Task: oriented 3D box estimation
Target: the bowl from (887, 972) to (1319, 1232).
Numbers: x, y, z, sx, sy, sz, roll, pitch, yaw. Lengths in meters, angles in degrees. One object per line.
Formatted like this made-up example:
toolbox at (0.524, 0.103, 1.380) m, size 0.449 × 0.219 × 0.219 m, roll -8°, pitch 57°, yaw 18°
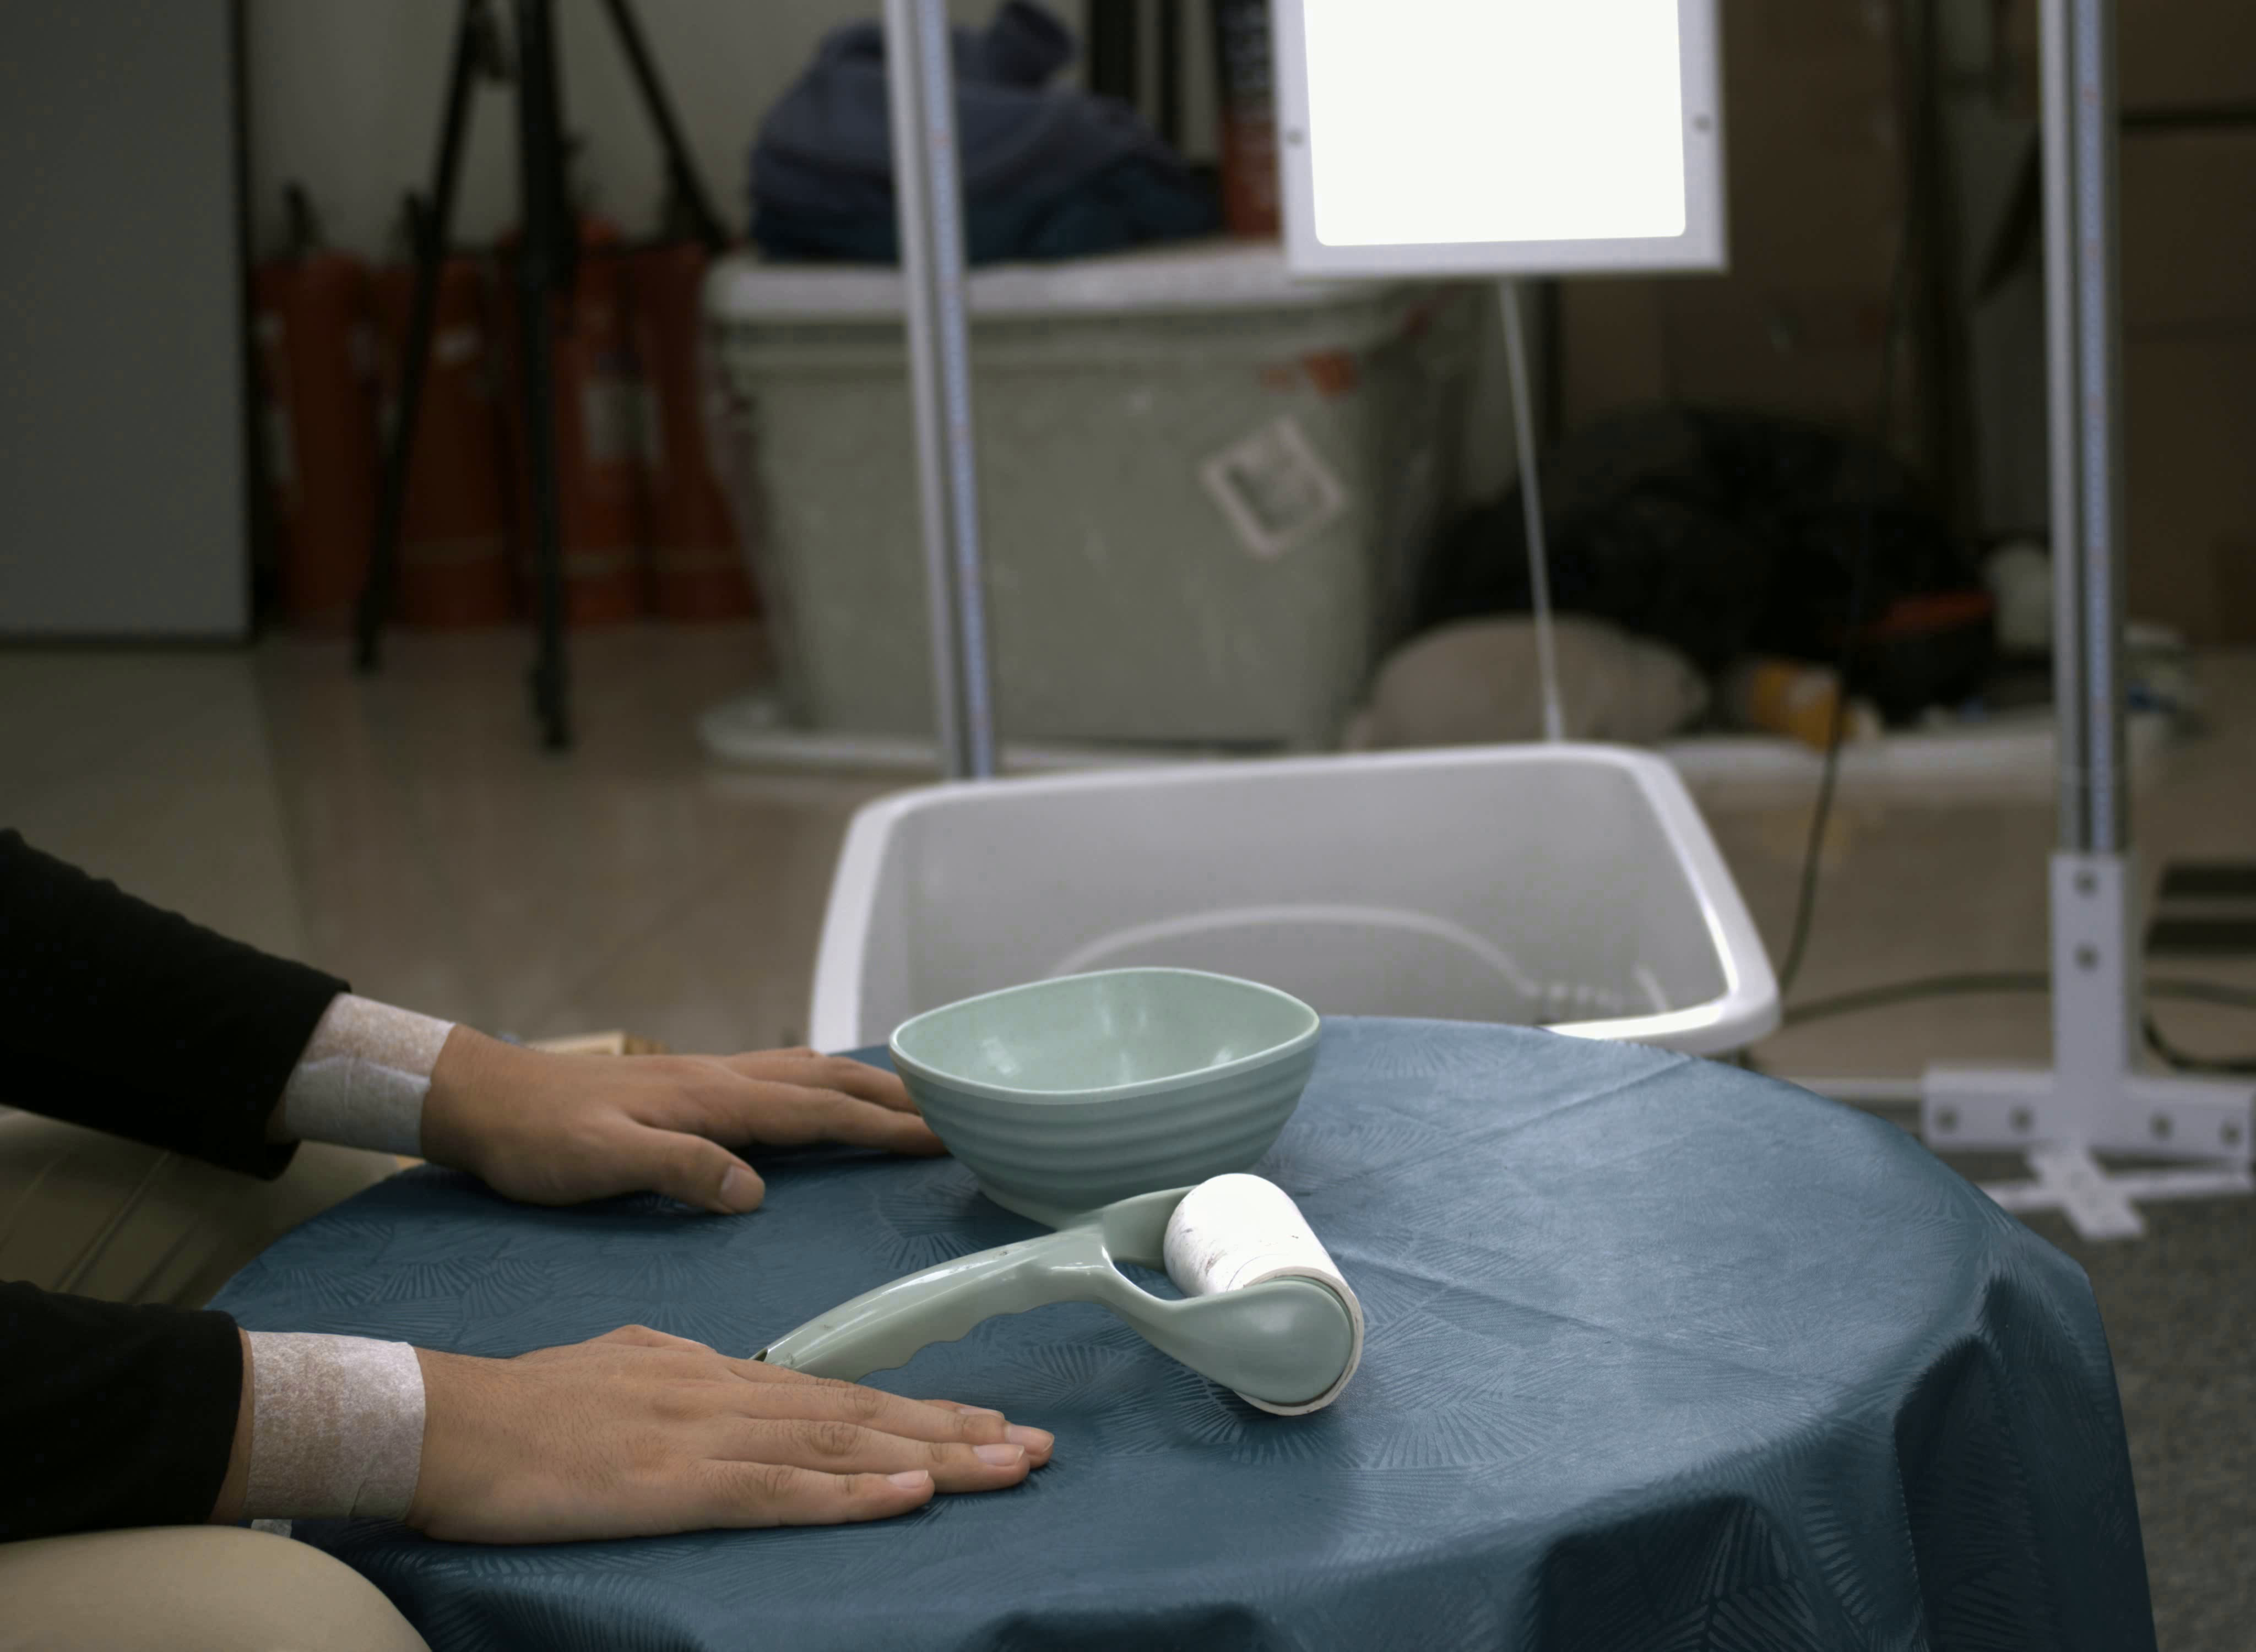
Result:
bowl at (-0.008, 0.098, 1.900) m, size 0.151 × 0.059 × 0.151 m, roll -3°, pitch 14°, yaw -1°

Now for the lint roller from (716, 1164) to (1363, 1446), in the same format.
lint roller at (-0.032, 0.152, 1.710) m, size 0.196 × 0.048 × 0.117 m, roll -8°, pitch 15°, yaw -5°
